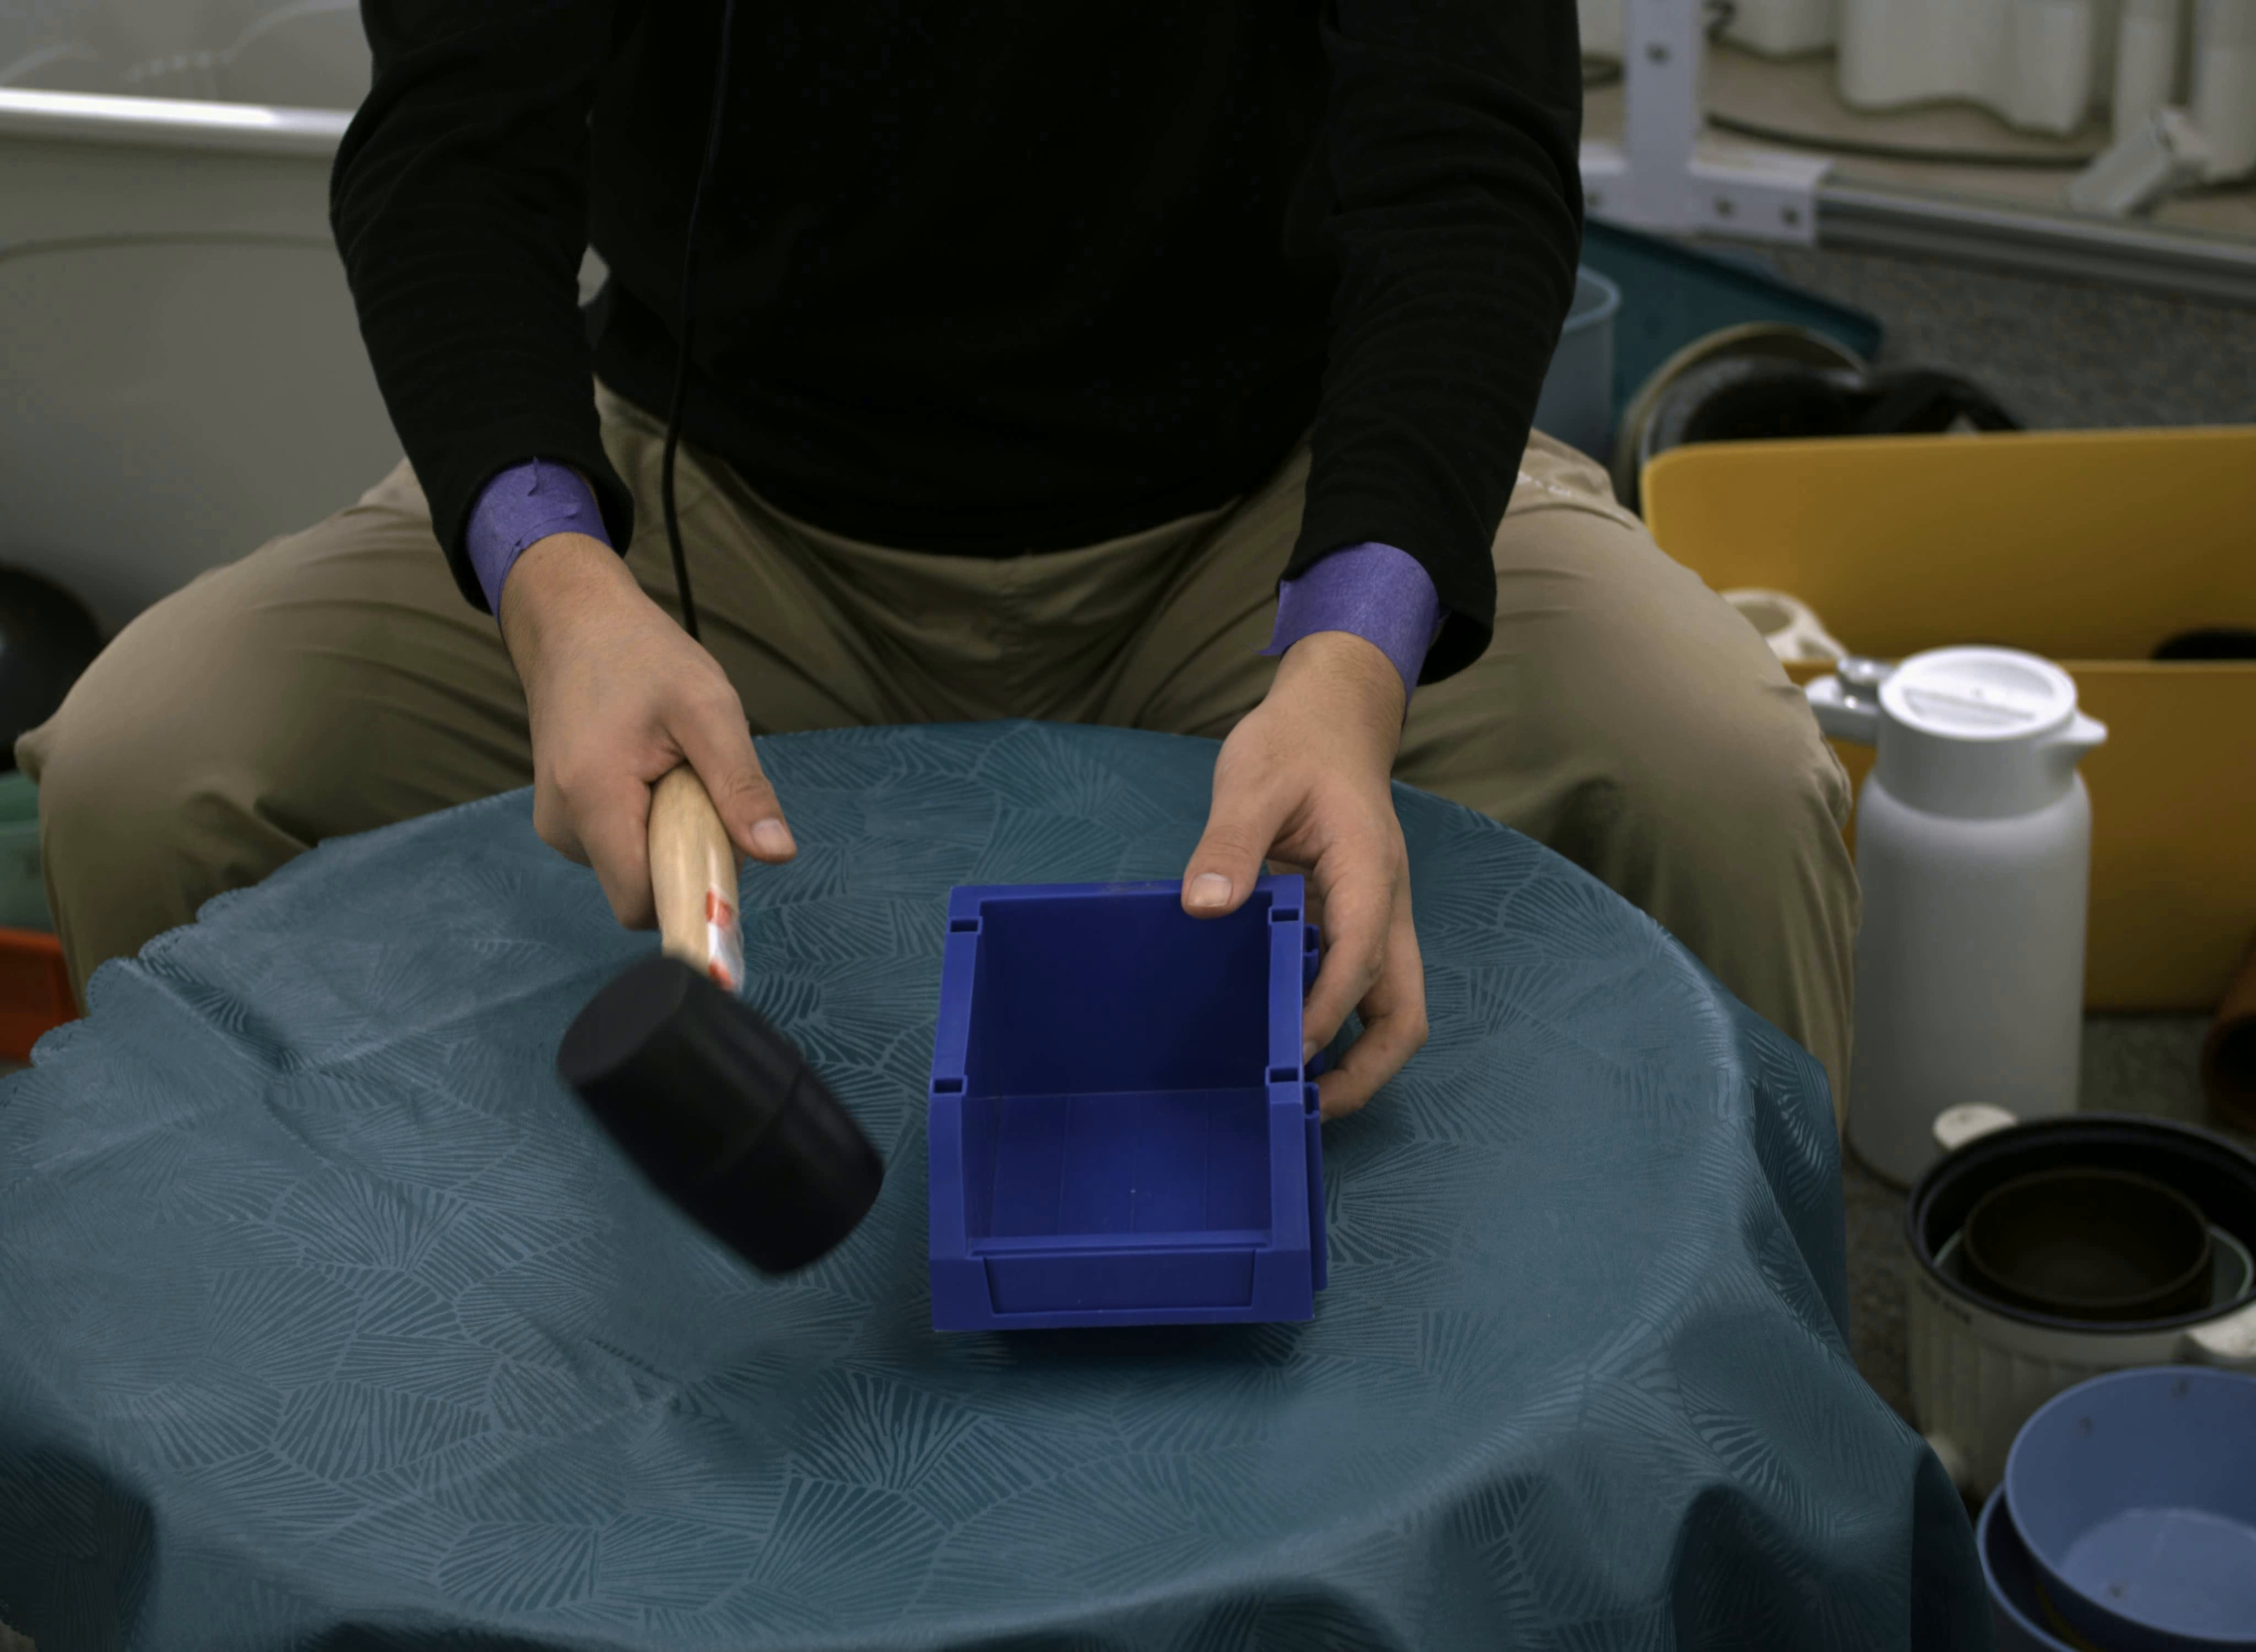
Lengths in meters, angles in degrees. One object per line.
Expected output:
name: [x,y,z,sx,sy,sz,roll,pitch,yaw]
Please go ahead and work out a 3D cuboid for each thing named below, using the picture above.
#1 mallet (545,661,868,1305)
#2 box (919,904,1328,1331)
mallet: [-0.139,0.028,1.866,0.064,0.101,0.344,-32,26,13]
box: [0.001,0.099,1.814,0.124,0.081,0.182,-1,23,3]
